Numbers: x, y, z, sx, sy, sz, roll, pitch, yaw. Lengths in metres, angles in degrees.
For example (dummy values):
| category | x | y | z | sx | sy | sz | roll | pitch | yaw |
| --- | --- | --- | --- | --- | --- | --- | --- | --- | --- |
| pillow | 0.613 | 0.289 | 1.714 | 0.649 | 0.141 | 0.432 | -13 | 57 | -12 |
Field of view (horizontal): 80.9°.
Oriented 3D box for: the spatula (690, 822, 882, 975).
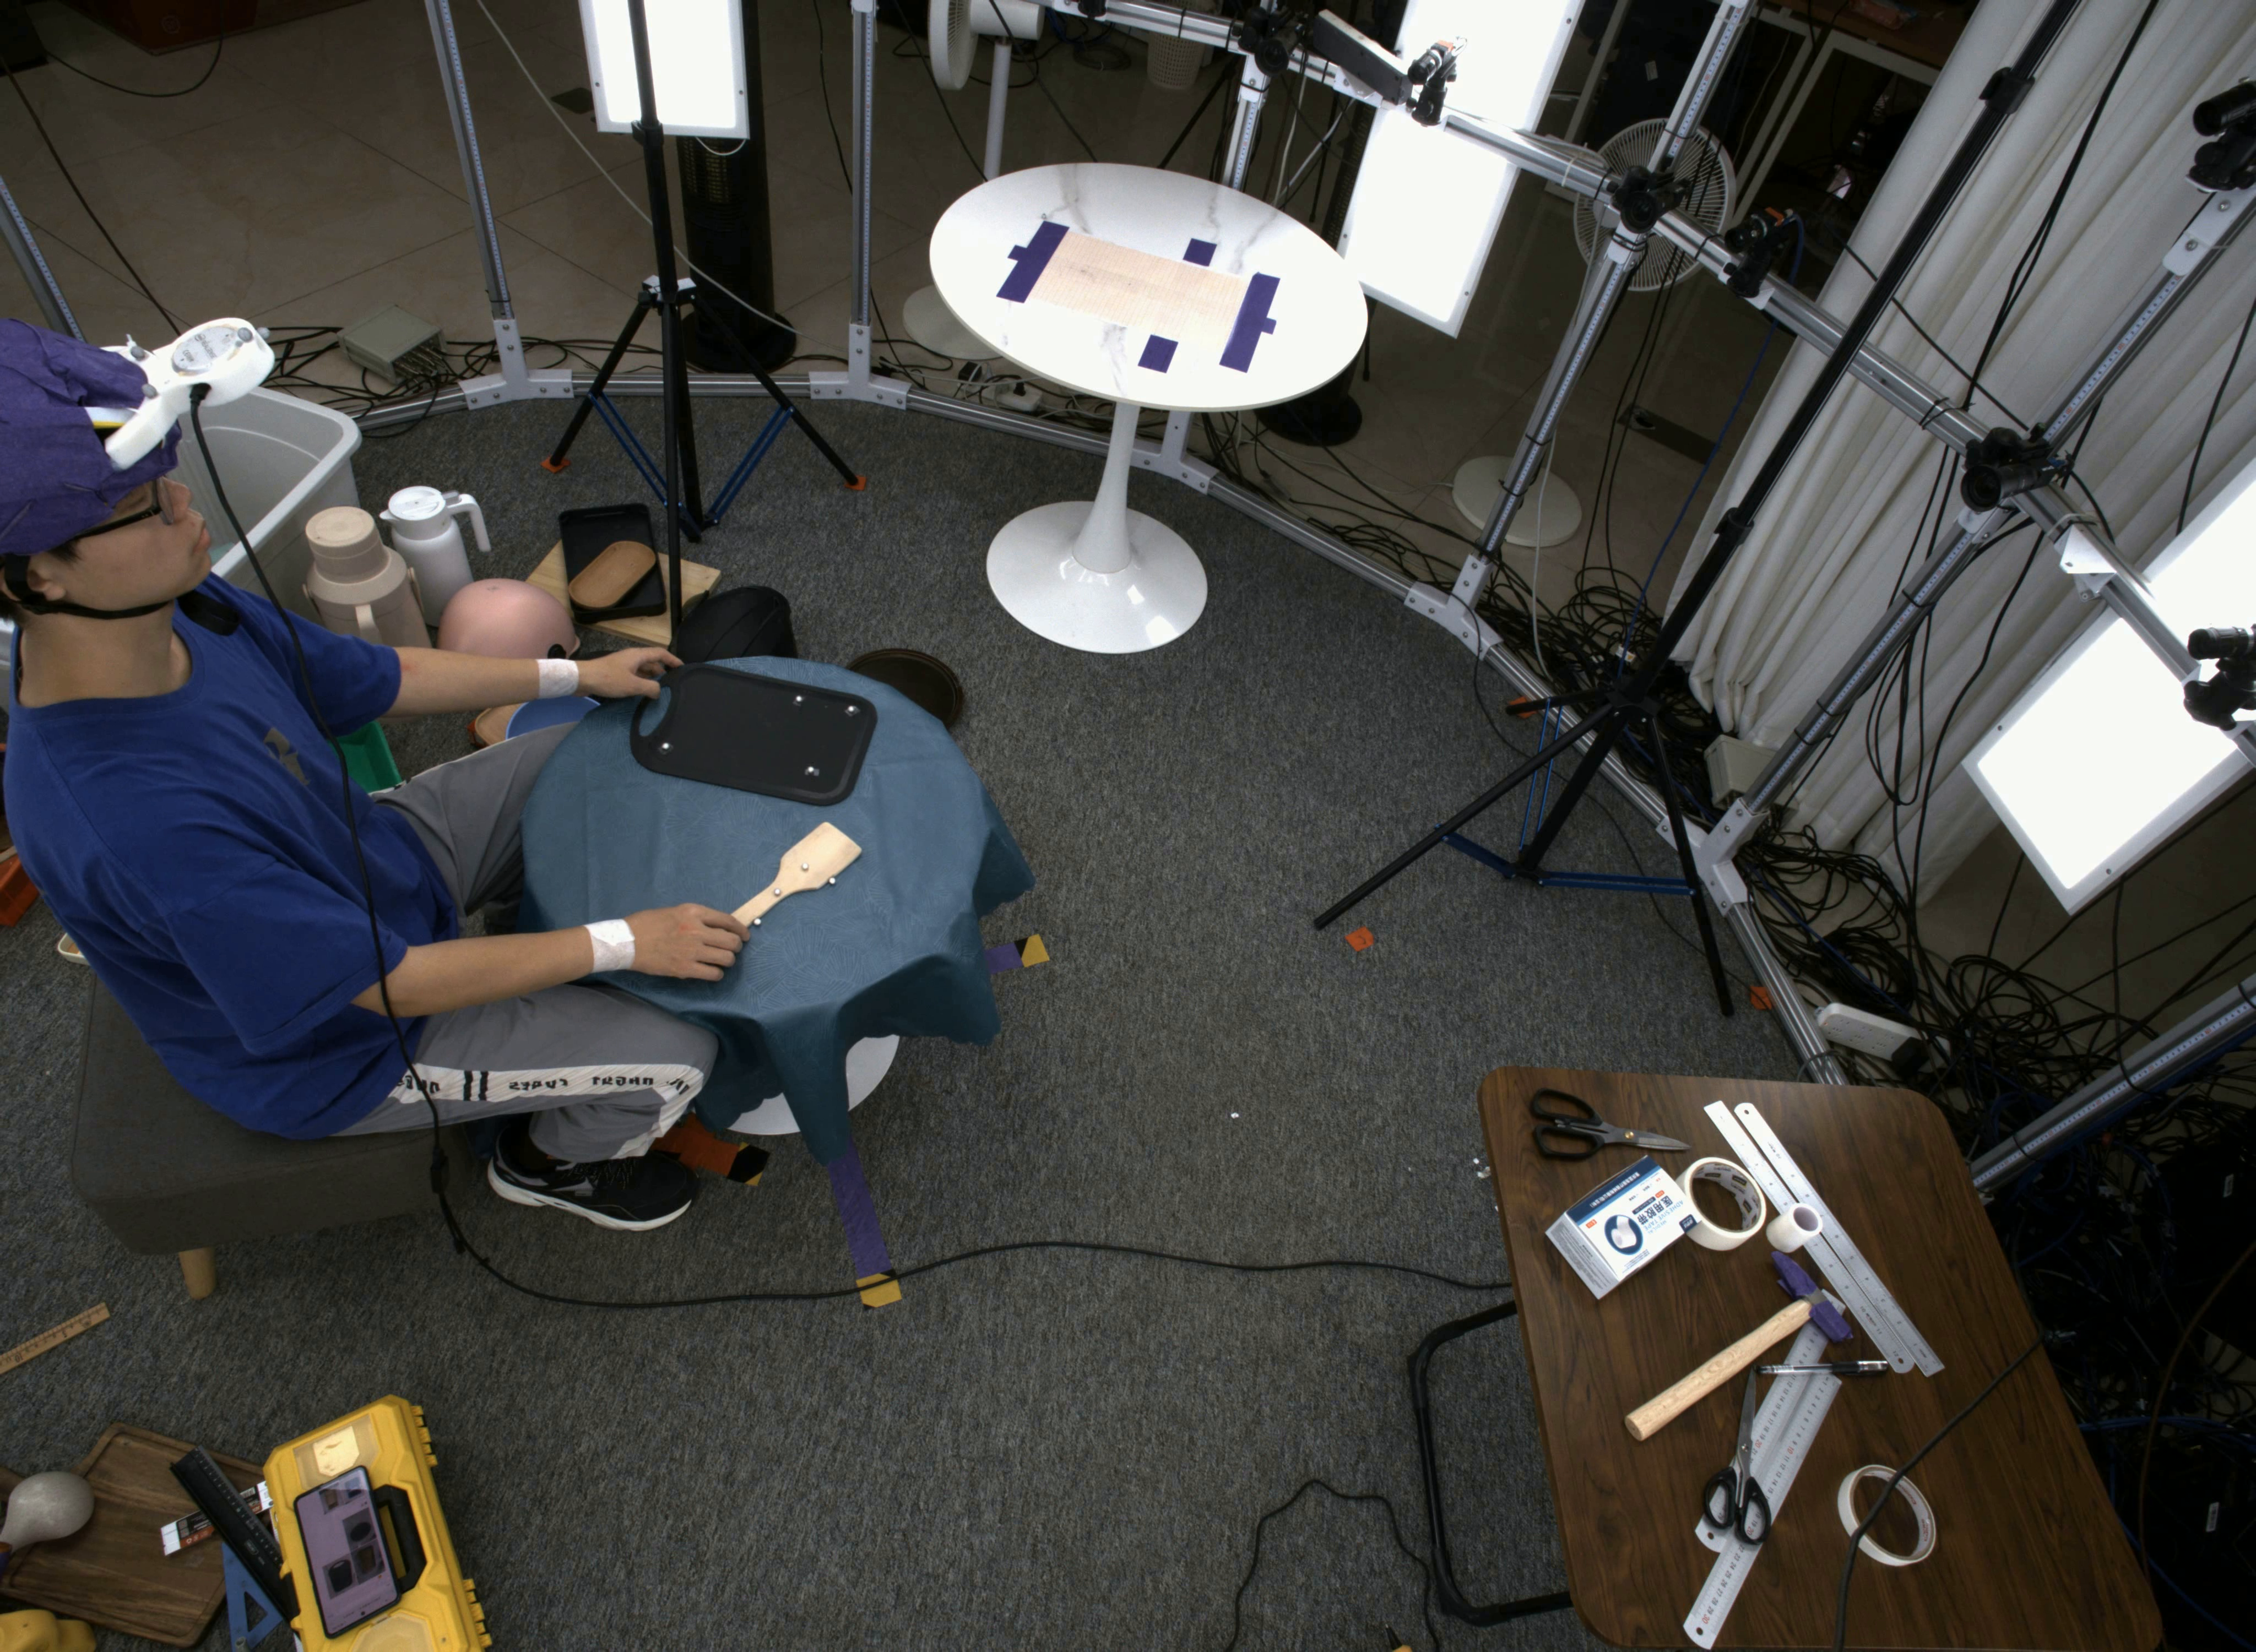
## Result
| category | x | y | z | sx | sy | sz | roll | pitch | yaw |
| --- | --- | --- | --- | --- | --- | --- | --- | --- | --- |
| spatula | -0.439 | 0.094 | 1.655 | 0.071 | 0.011 | 0.293 | 38 | 54 | 13 |

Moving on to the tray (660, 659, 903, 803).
| category | x | y | z | sx | sy | sz | roll | pitch | yaw |
| --- | --- | --- | --- | --- | --- | --- | --- | --- | --- |
| tray | -0.491 | -0.139 | 1.816 | 0.323 | 0.010 | 0.208 | 14 | 52 | -4 |
